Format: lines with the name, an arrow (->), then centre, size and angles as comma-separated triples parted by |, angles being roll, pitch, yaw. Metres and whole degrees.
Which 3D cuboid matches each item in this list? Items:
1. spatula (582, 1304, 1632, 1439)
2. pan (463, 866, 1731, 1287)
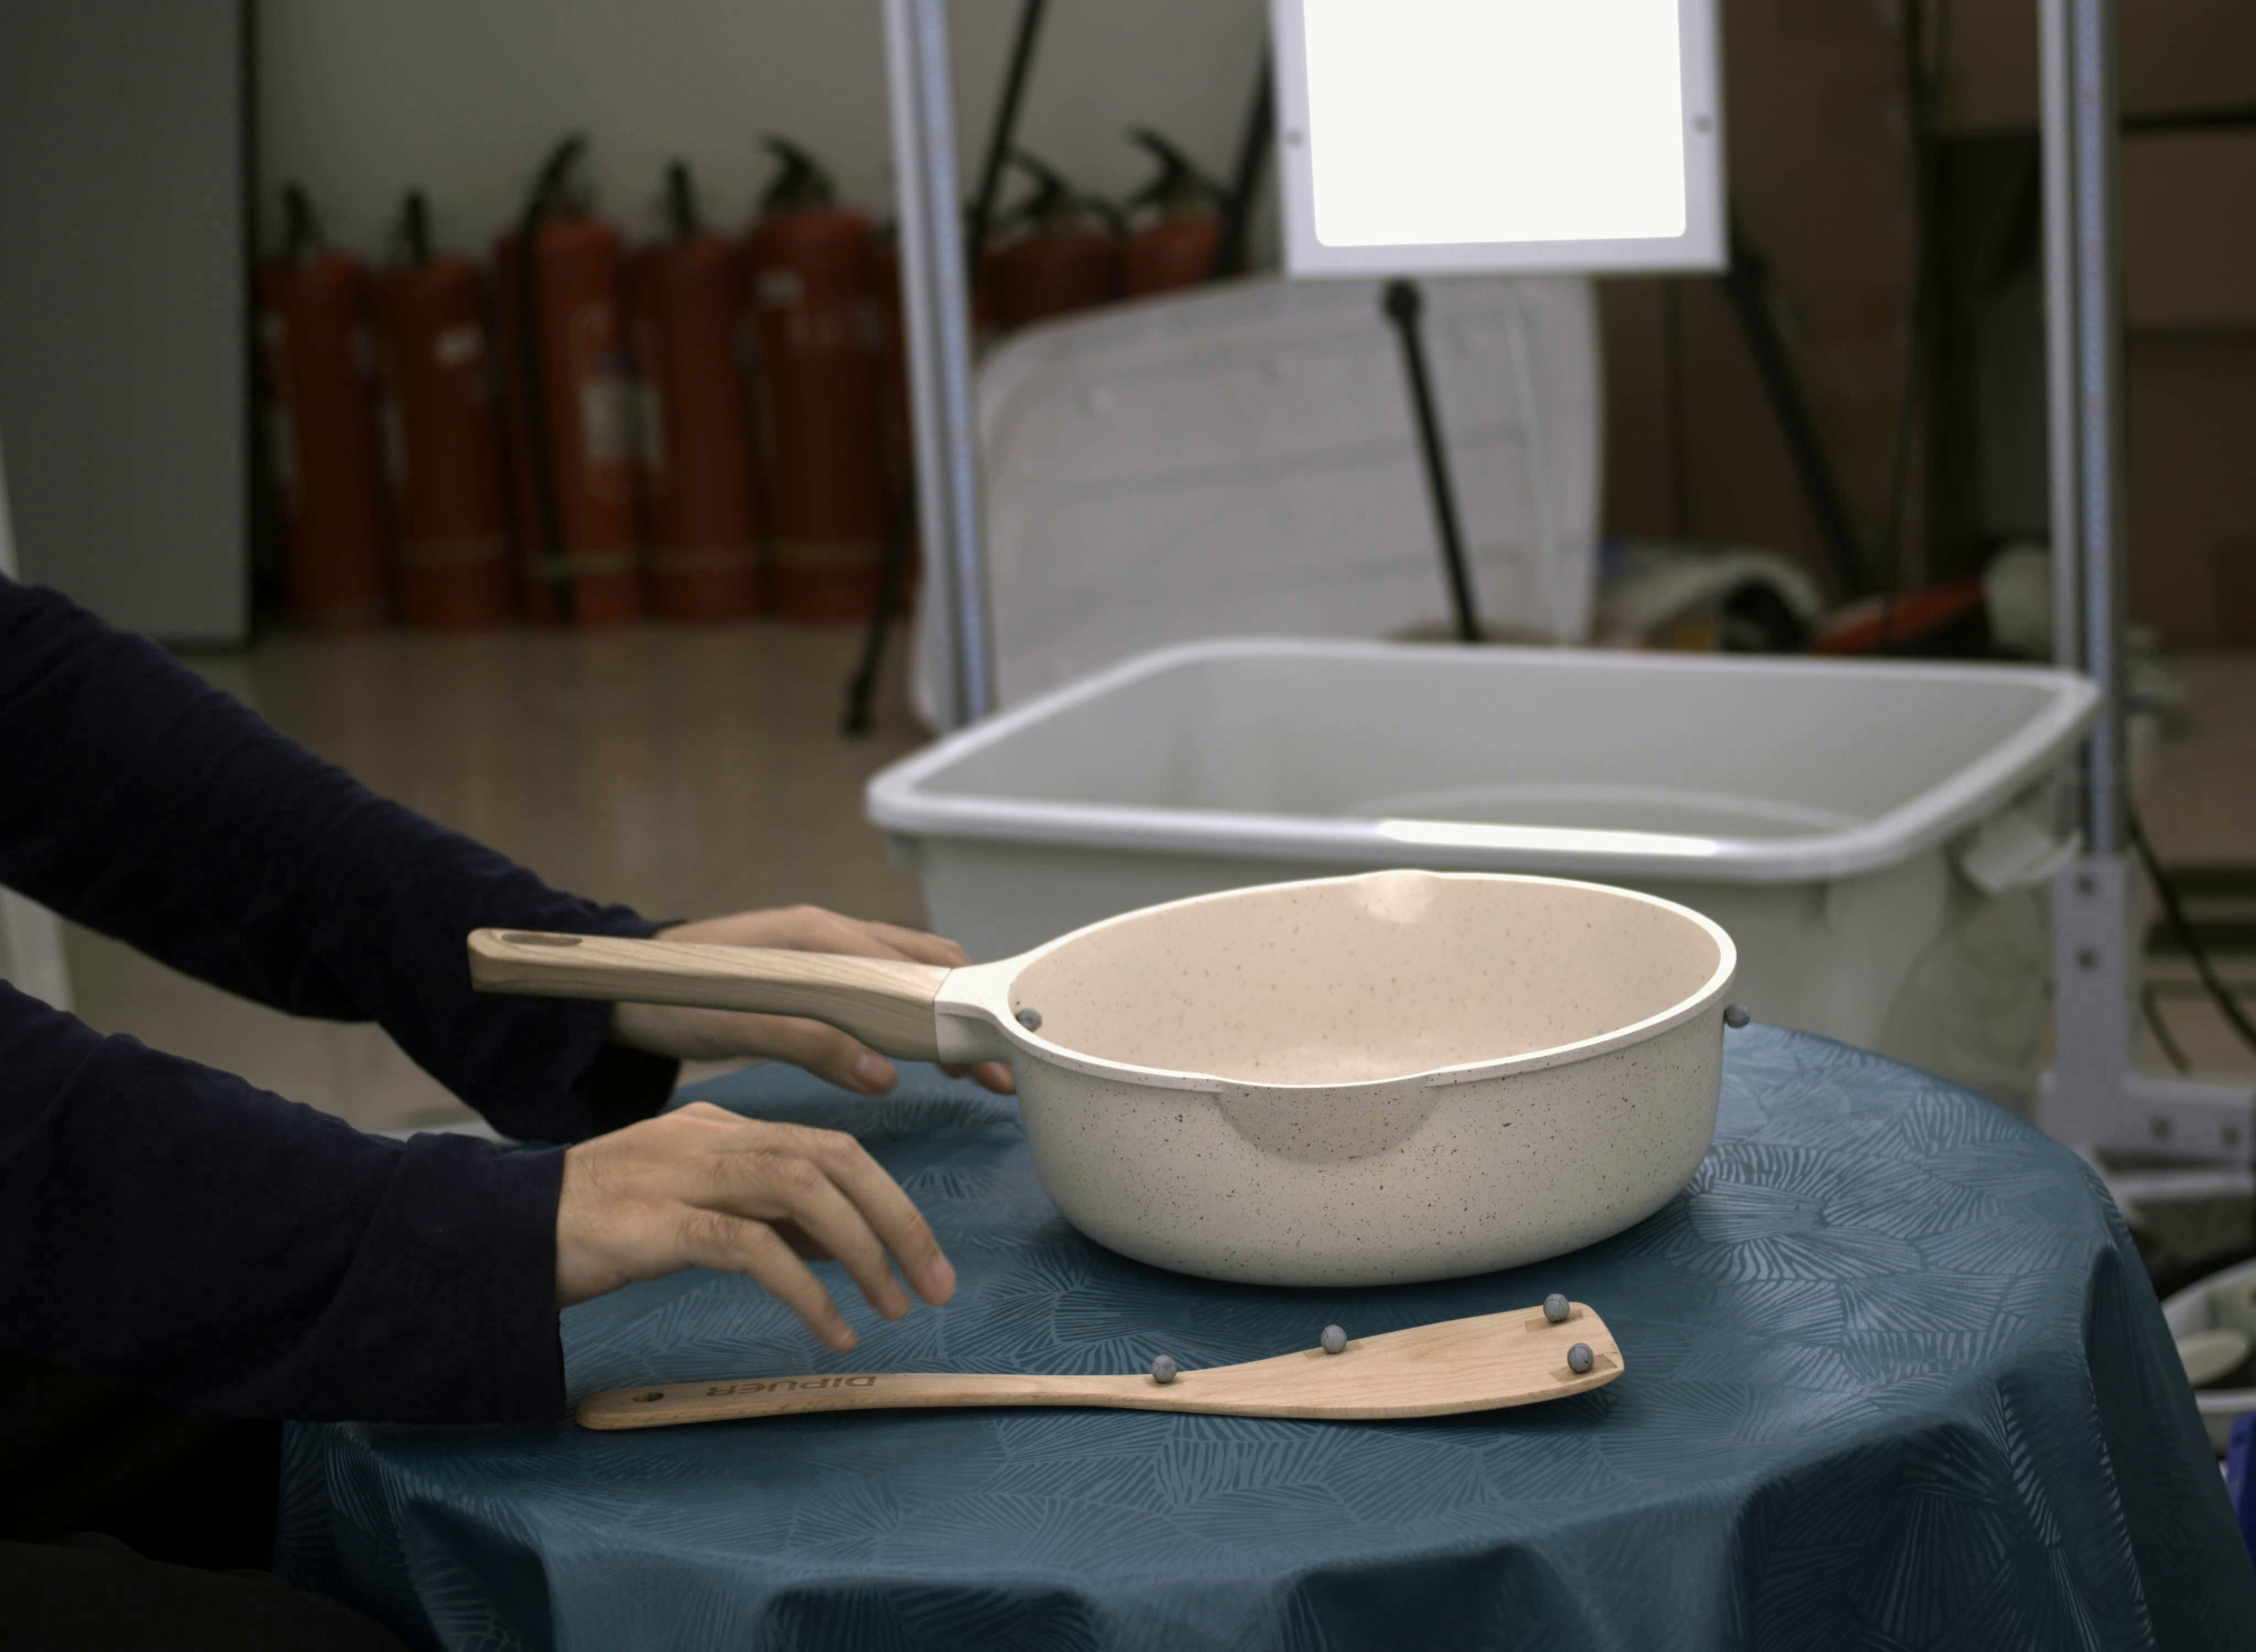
spatula -> -0.008, 0.171, 1.696 | 0.329, 0.016, 0.079 | -3, 14, 9
pan -> -0.010, 0.084, 1.877 | 0.437, 0.102, 0.261 | -3, 15, 10
